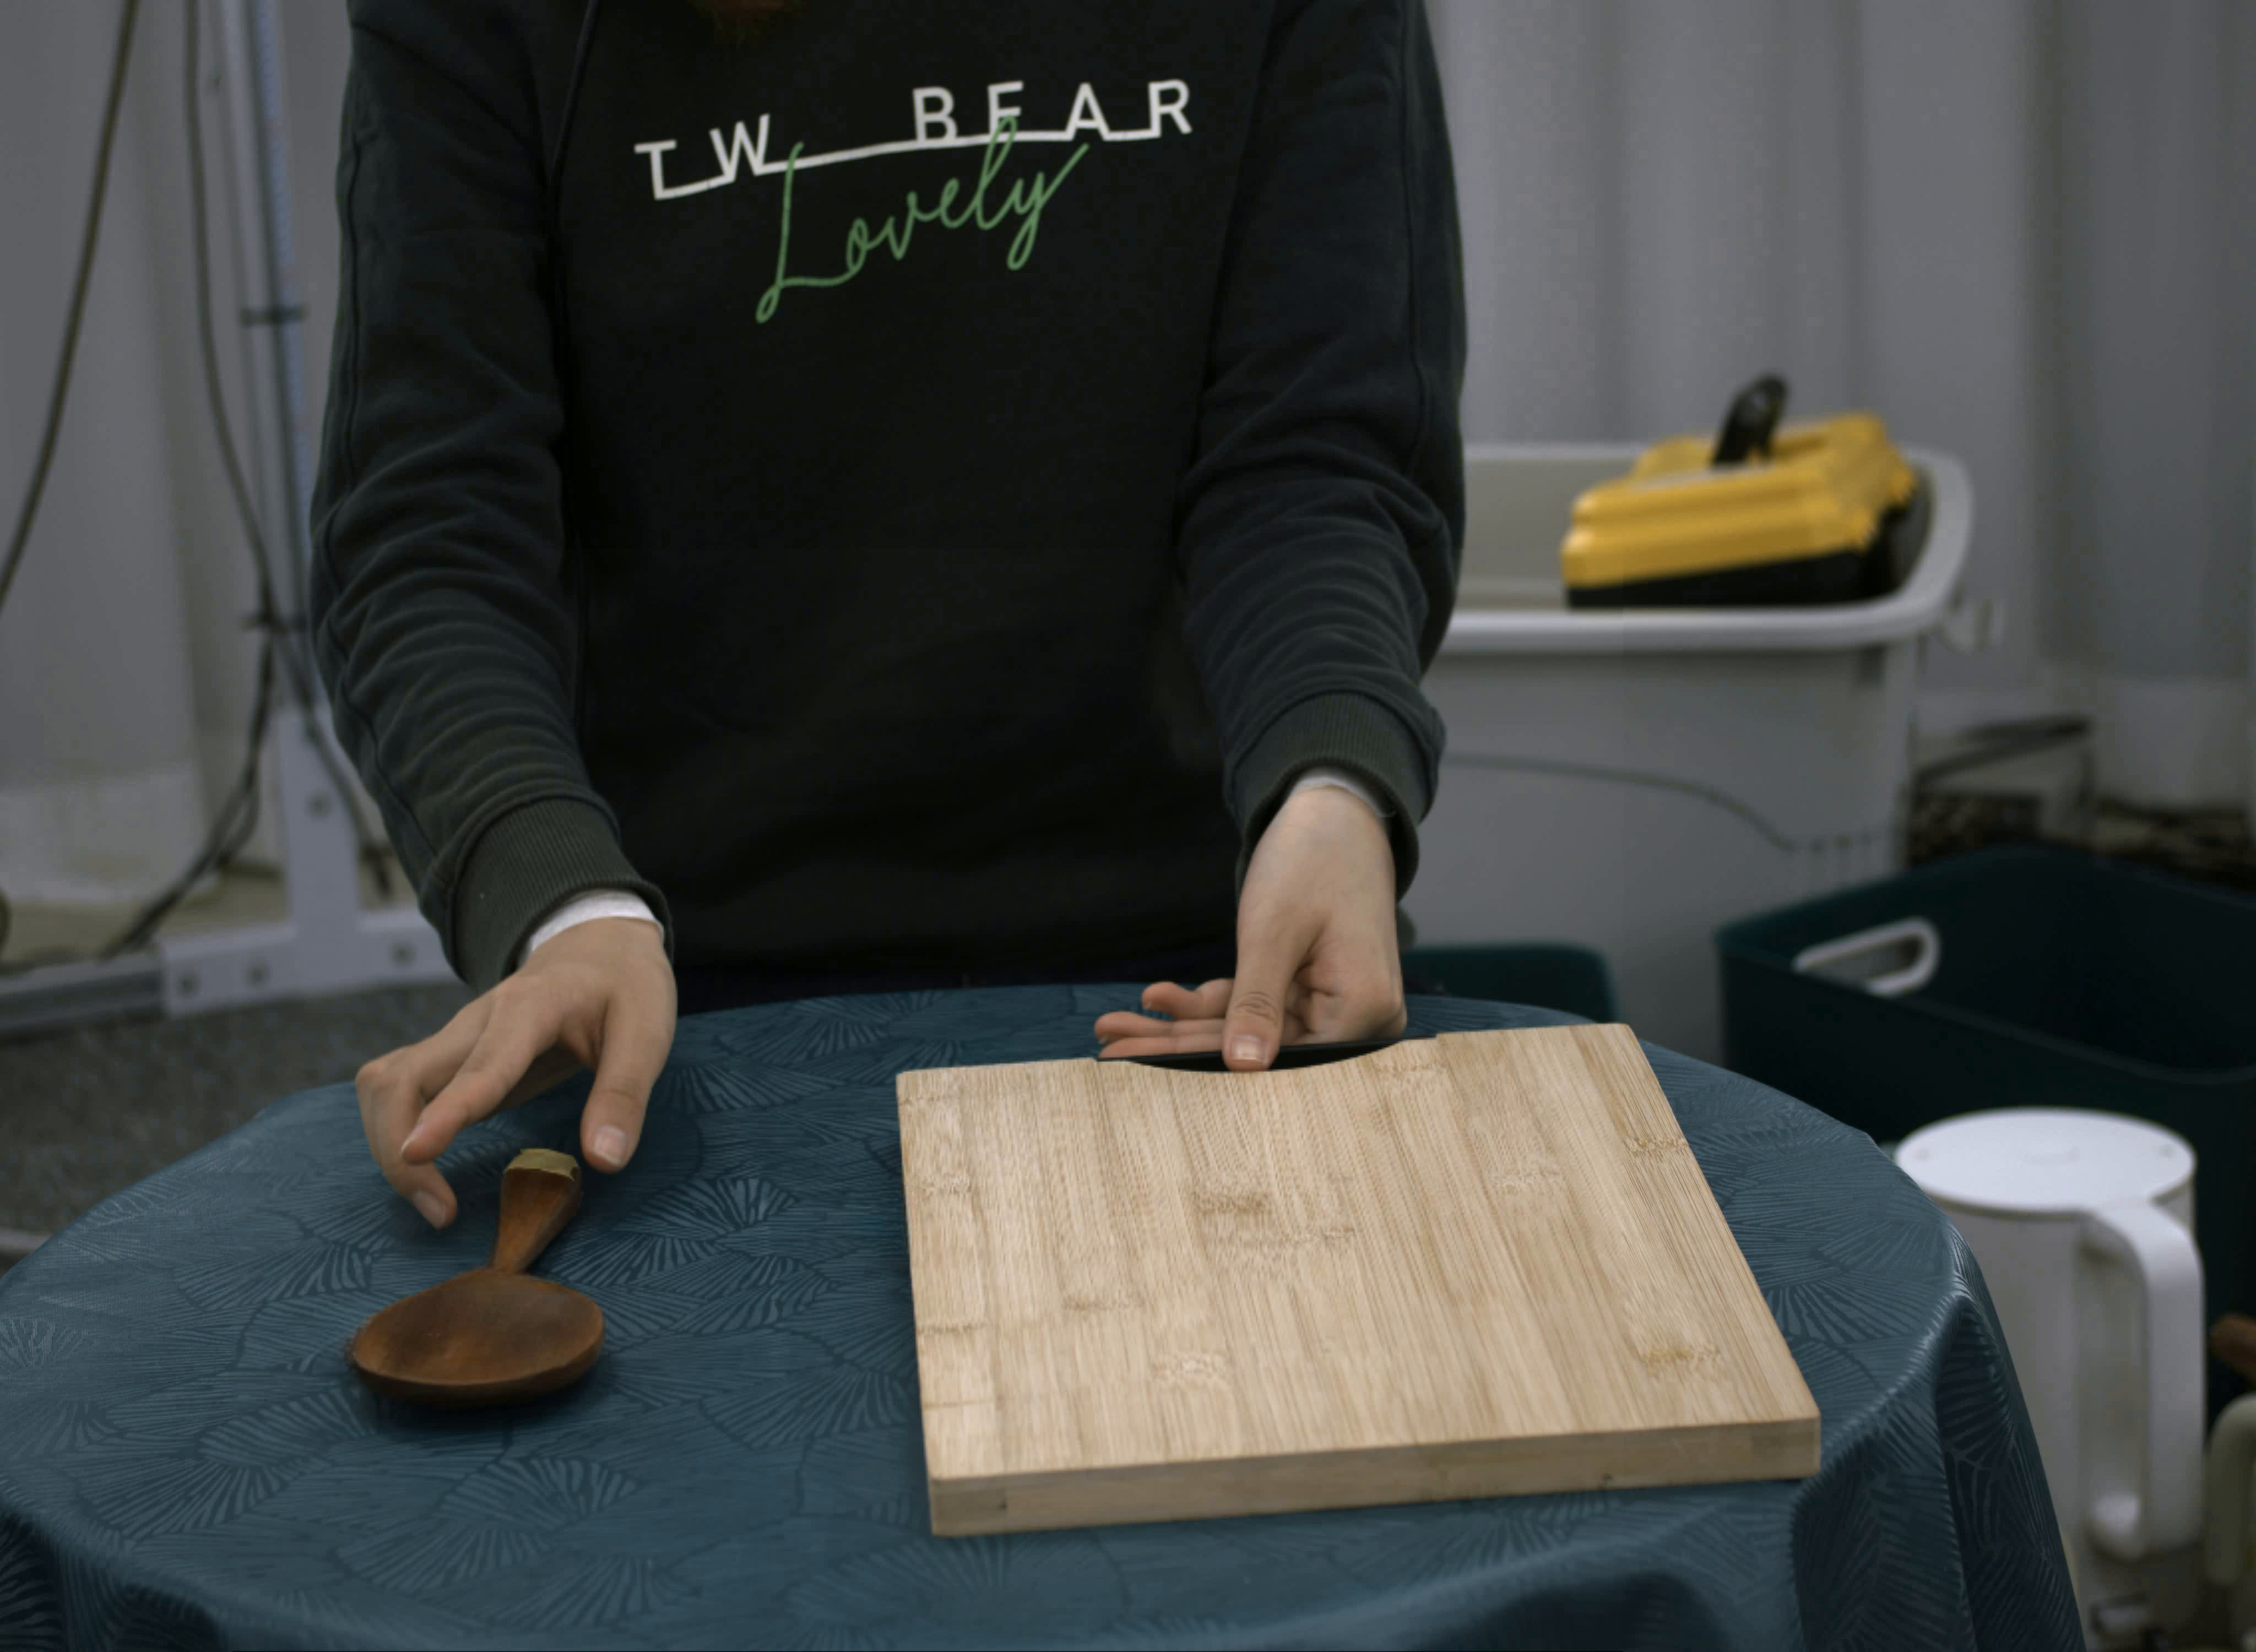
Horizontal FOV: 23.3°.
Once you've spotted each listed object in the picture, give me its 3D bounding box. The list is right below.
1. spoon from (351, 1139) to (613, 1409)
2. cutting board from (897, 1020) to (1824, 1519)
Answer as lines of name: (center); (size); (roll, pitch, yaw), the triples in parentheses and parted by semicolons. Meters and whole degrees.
spoon: (-0.185, 0.135, 1.638); (0.075, 0.017, 0.217); (-4, 15, 2)
cutting board: (0.056, 0.126, 1.619); (0.250, 0.023, 0.351); (-3, 16, -4)
